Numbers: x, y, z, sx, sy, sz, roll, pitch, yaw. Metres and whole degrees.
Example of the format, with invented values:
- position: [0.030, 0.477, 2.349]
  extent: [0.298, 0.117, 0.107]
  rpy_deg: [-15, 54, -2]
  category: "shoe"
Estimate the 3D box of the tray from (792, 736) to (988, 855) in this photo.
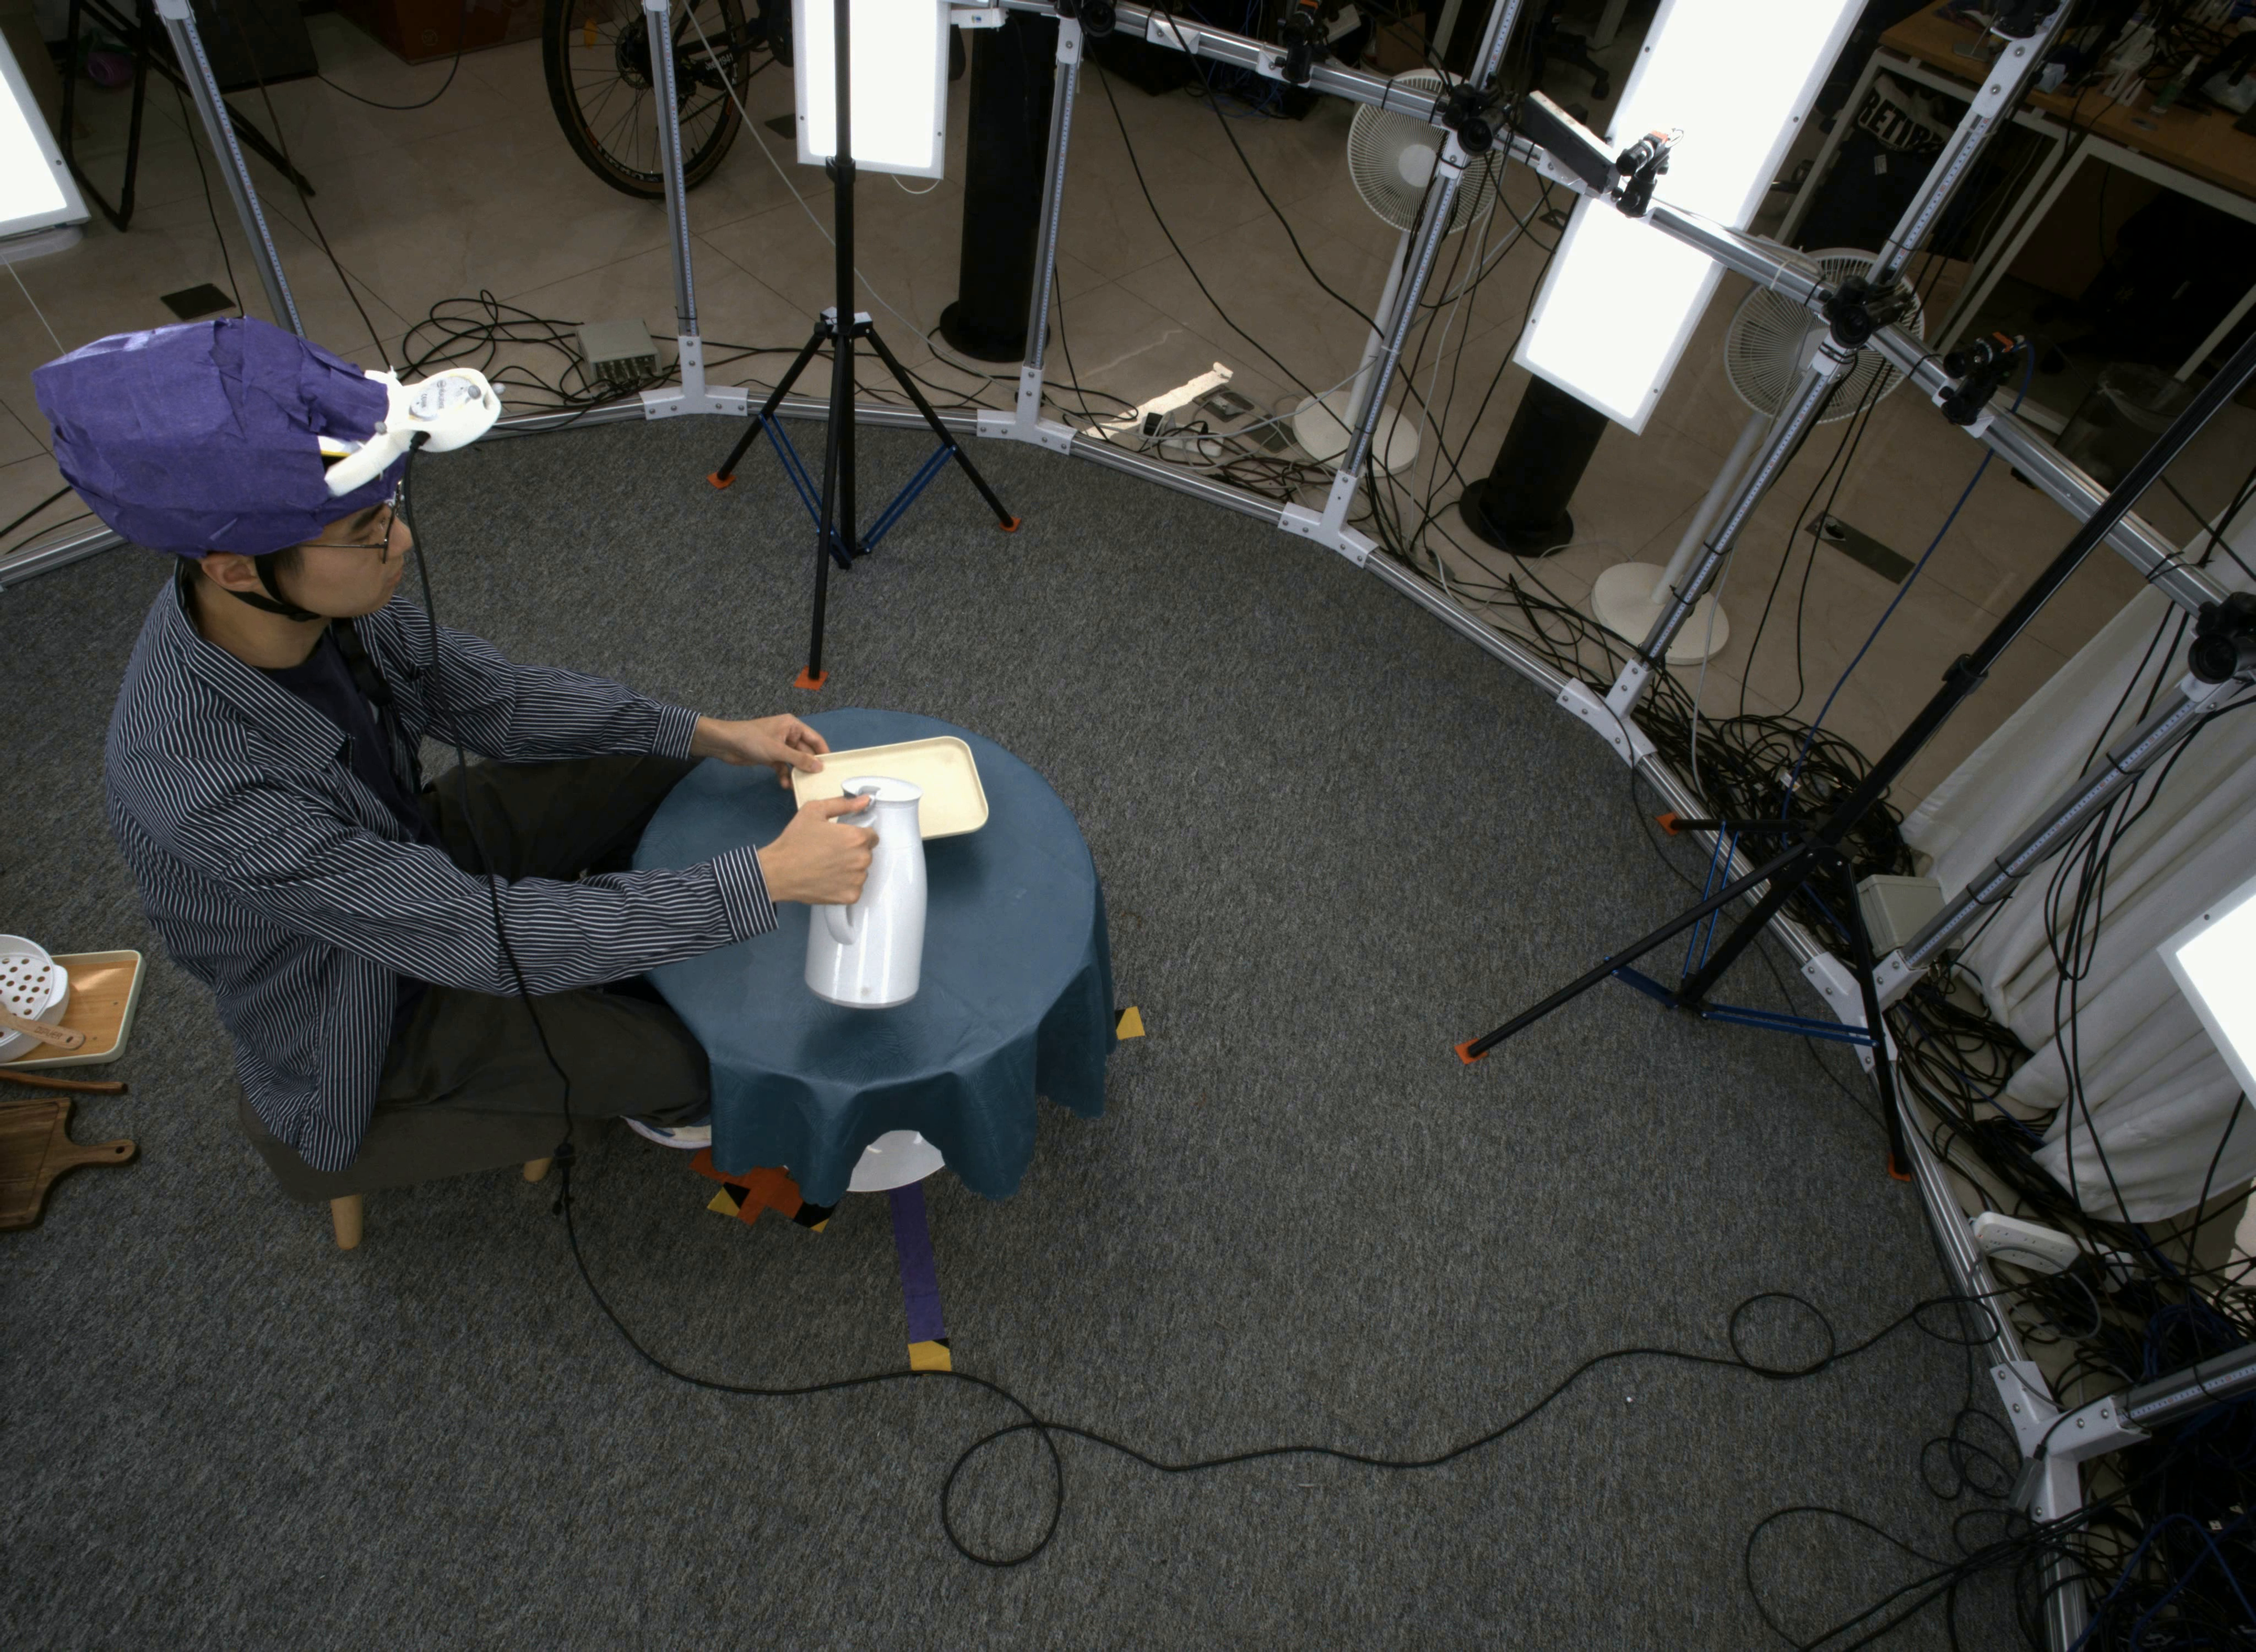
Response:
- position: [-0.312, -0.041, 1.704]
  extent: [0.240, 0.018, 0.166]
  rpy_deg: [-10, 53, -17]
  category: "tray"

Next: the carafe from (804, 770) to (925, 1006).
- position: [-0.296, 0.067, 1.460]
  extent: [0.130, 0.254, 0.166]
  rpy_deg: [11, 18, 6]
  category: "carafe"
